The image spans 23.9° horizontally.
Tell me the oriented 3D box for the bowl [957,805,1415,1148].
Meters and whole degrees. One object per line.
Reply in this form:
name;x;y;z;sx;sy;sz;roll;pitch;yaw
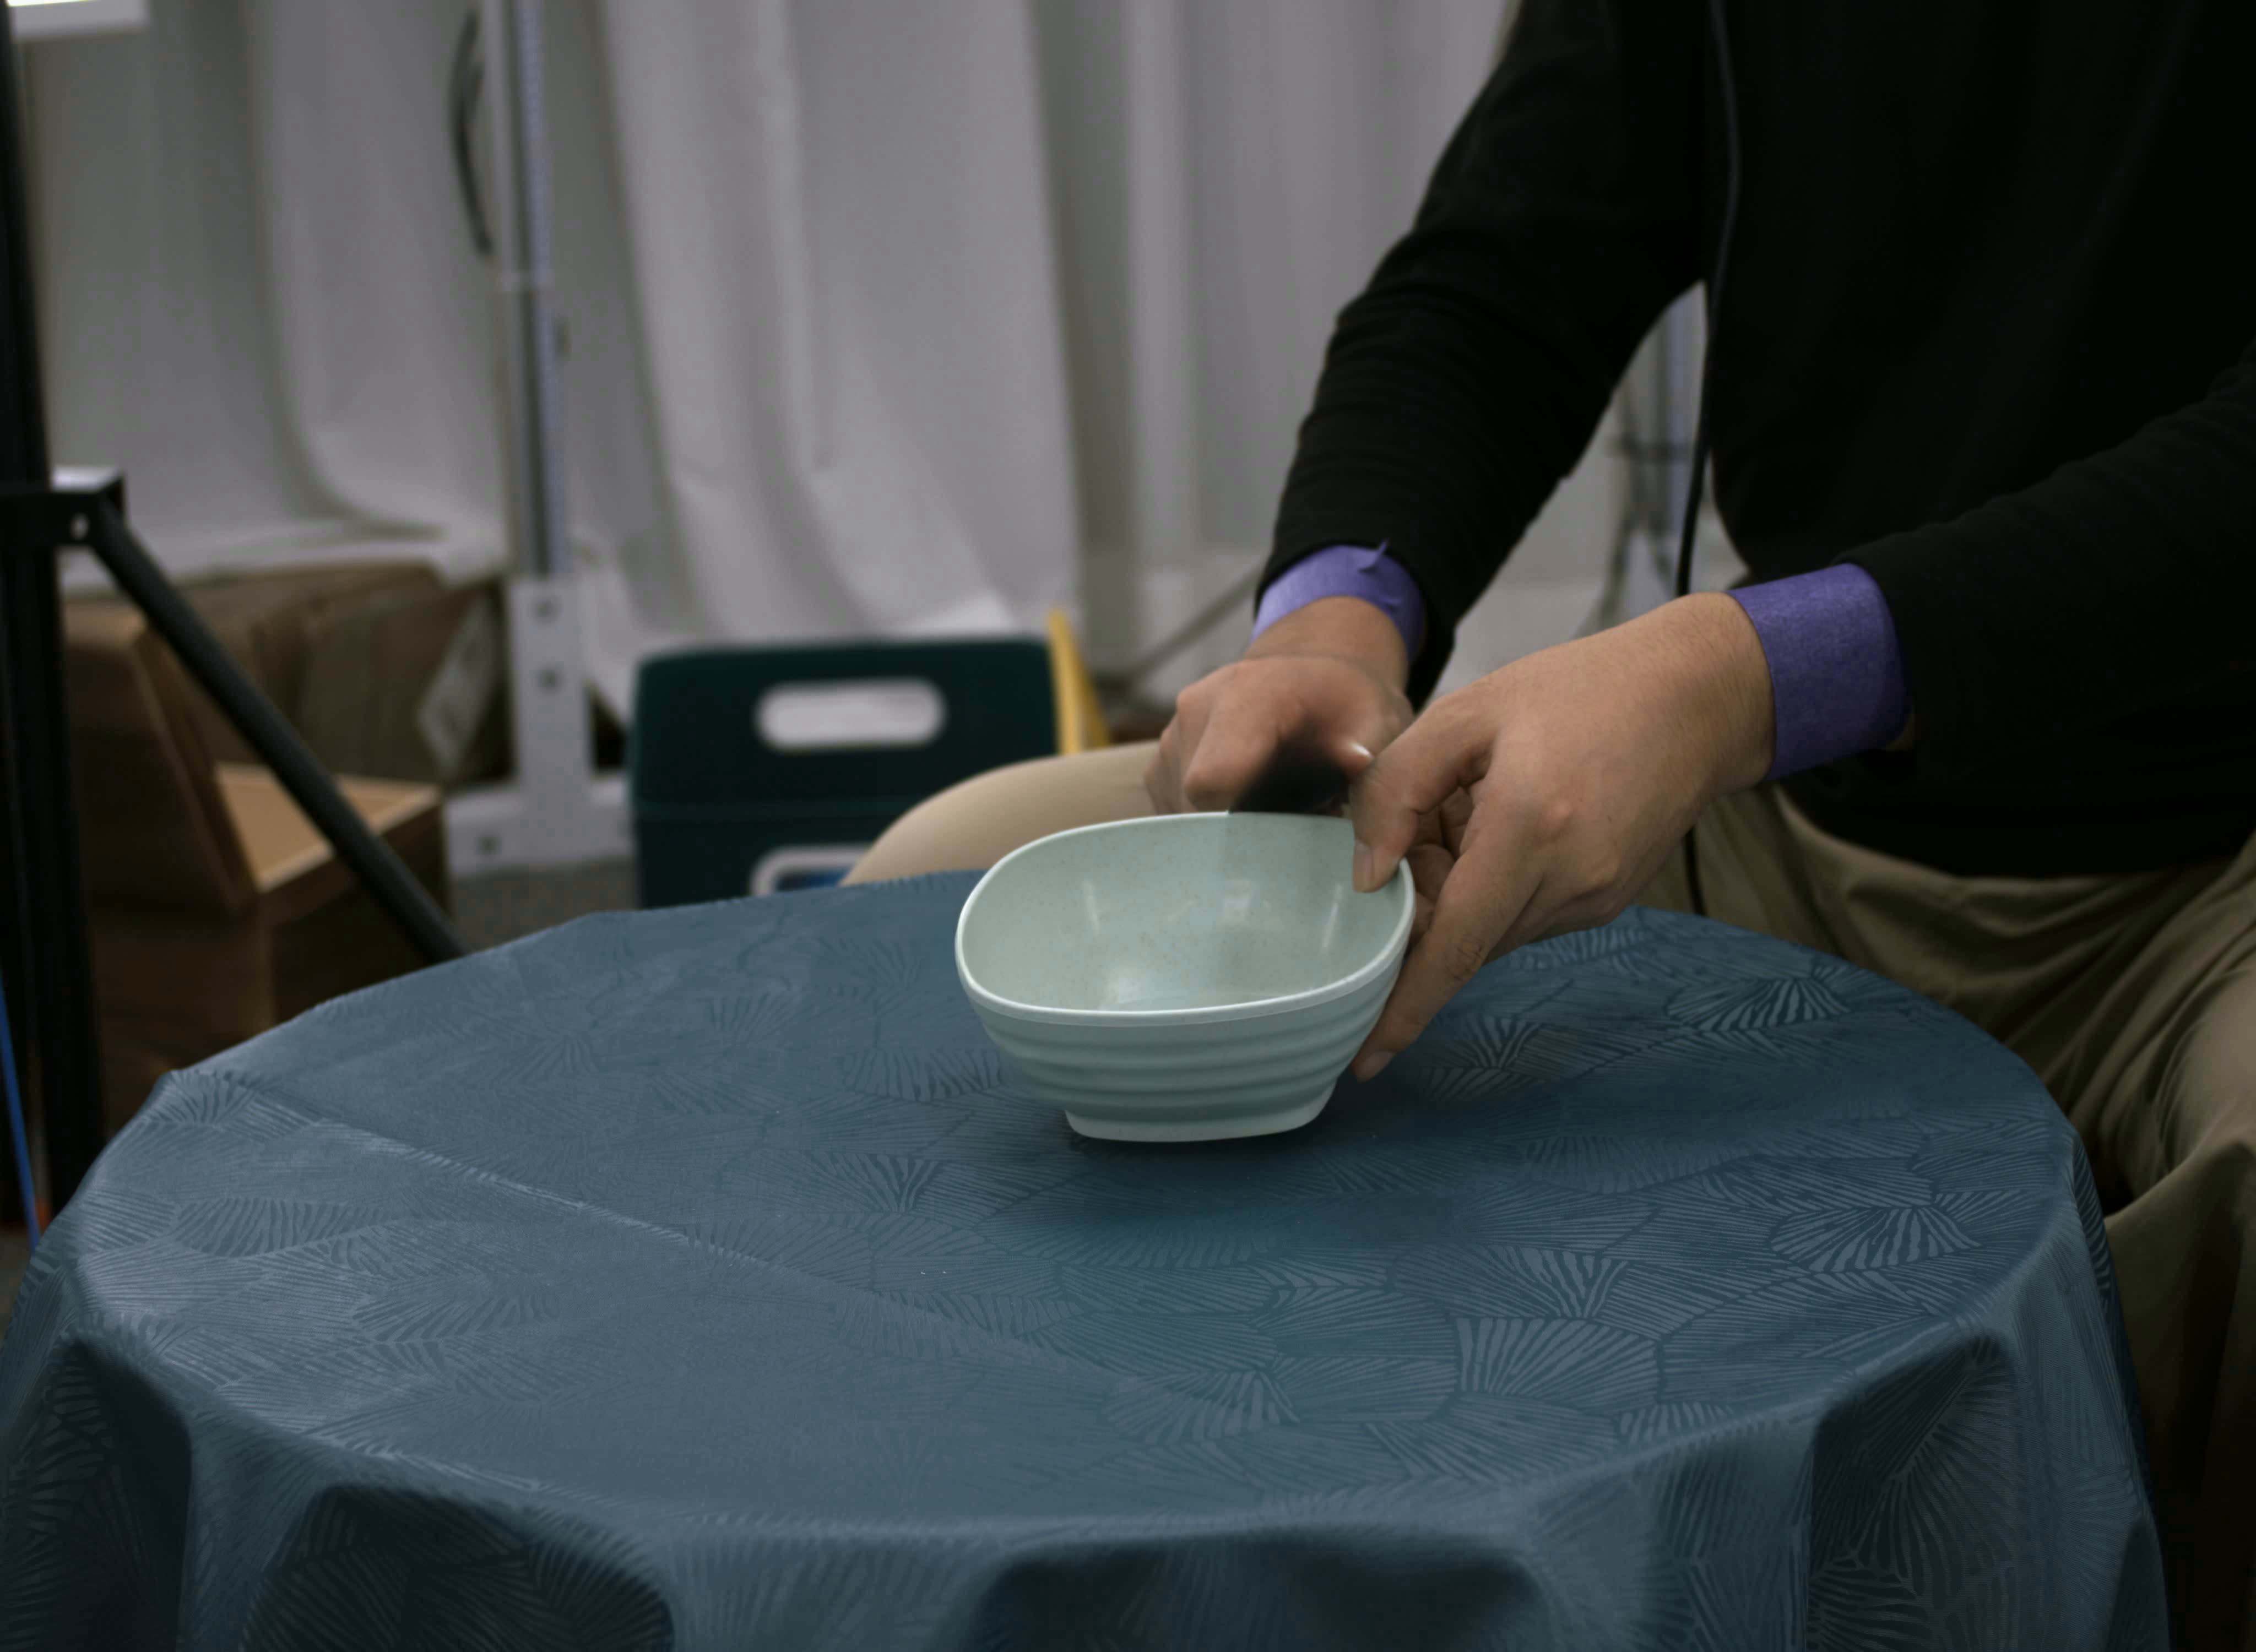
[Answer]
bowl;0.020;0.051;1.610;0.151;0.058;0.152;-7;26;2

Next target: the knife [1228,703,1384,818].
knife;0.053;-0.014;1.672;0.050;0.020;0.288;-29;-3;-3
